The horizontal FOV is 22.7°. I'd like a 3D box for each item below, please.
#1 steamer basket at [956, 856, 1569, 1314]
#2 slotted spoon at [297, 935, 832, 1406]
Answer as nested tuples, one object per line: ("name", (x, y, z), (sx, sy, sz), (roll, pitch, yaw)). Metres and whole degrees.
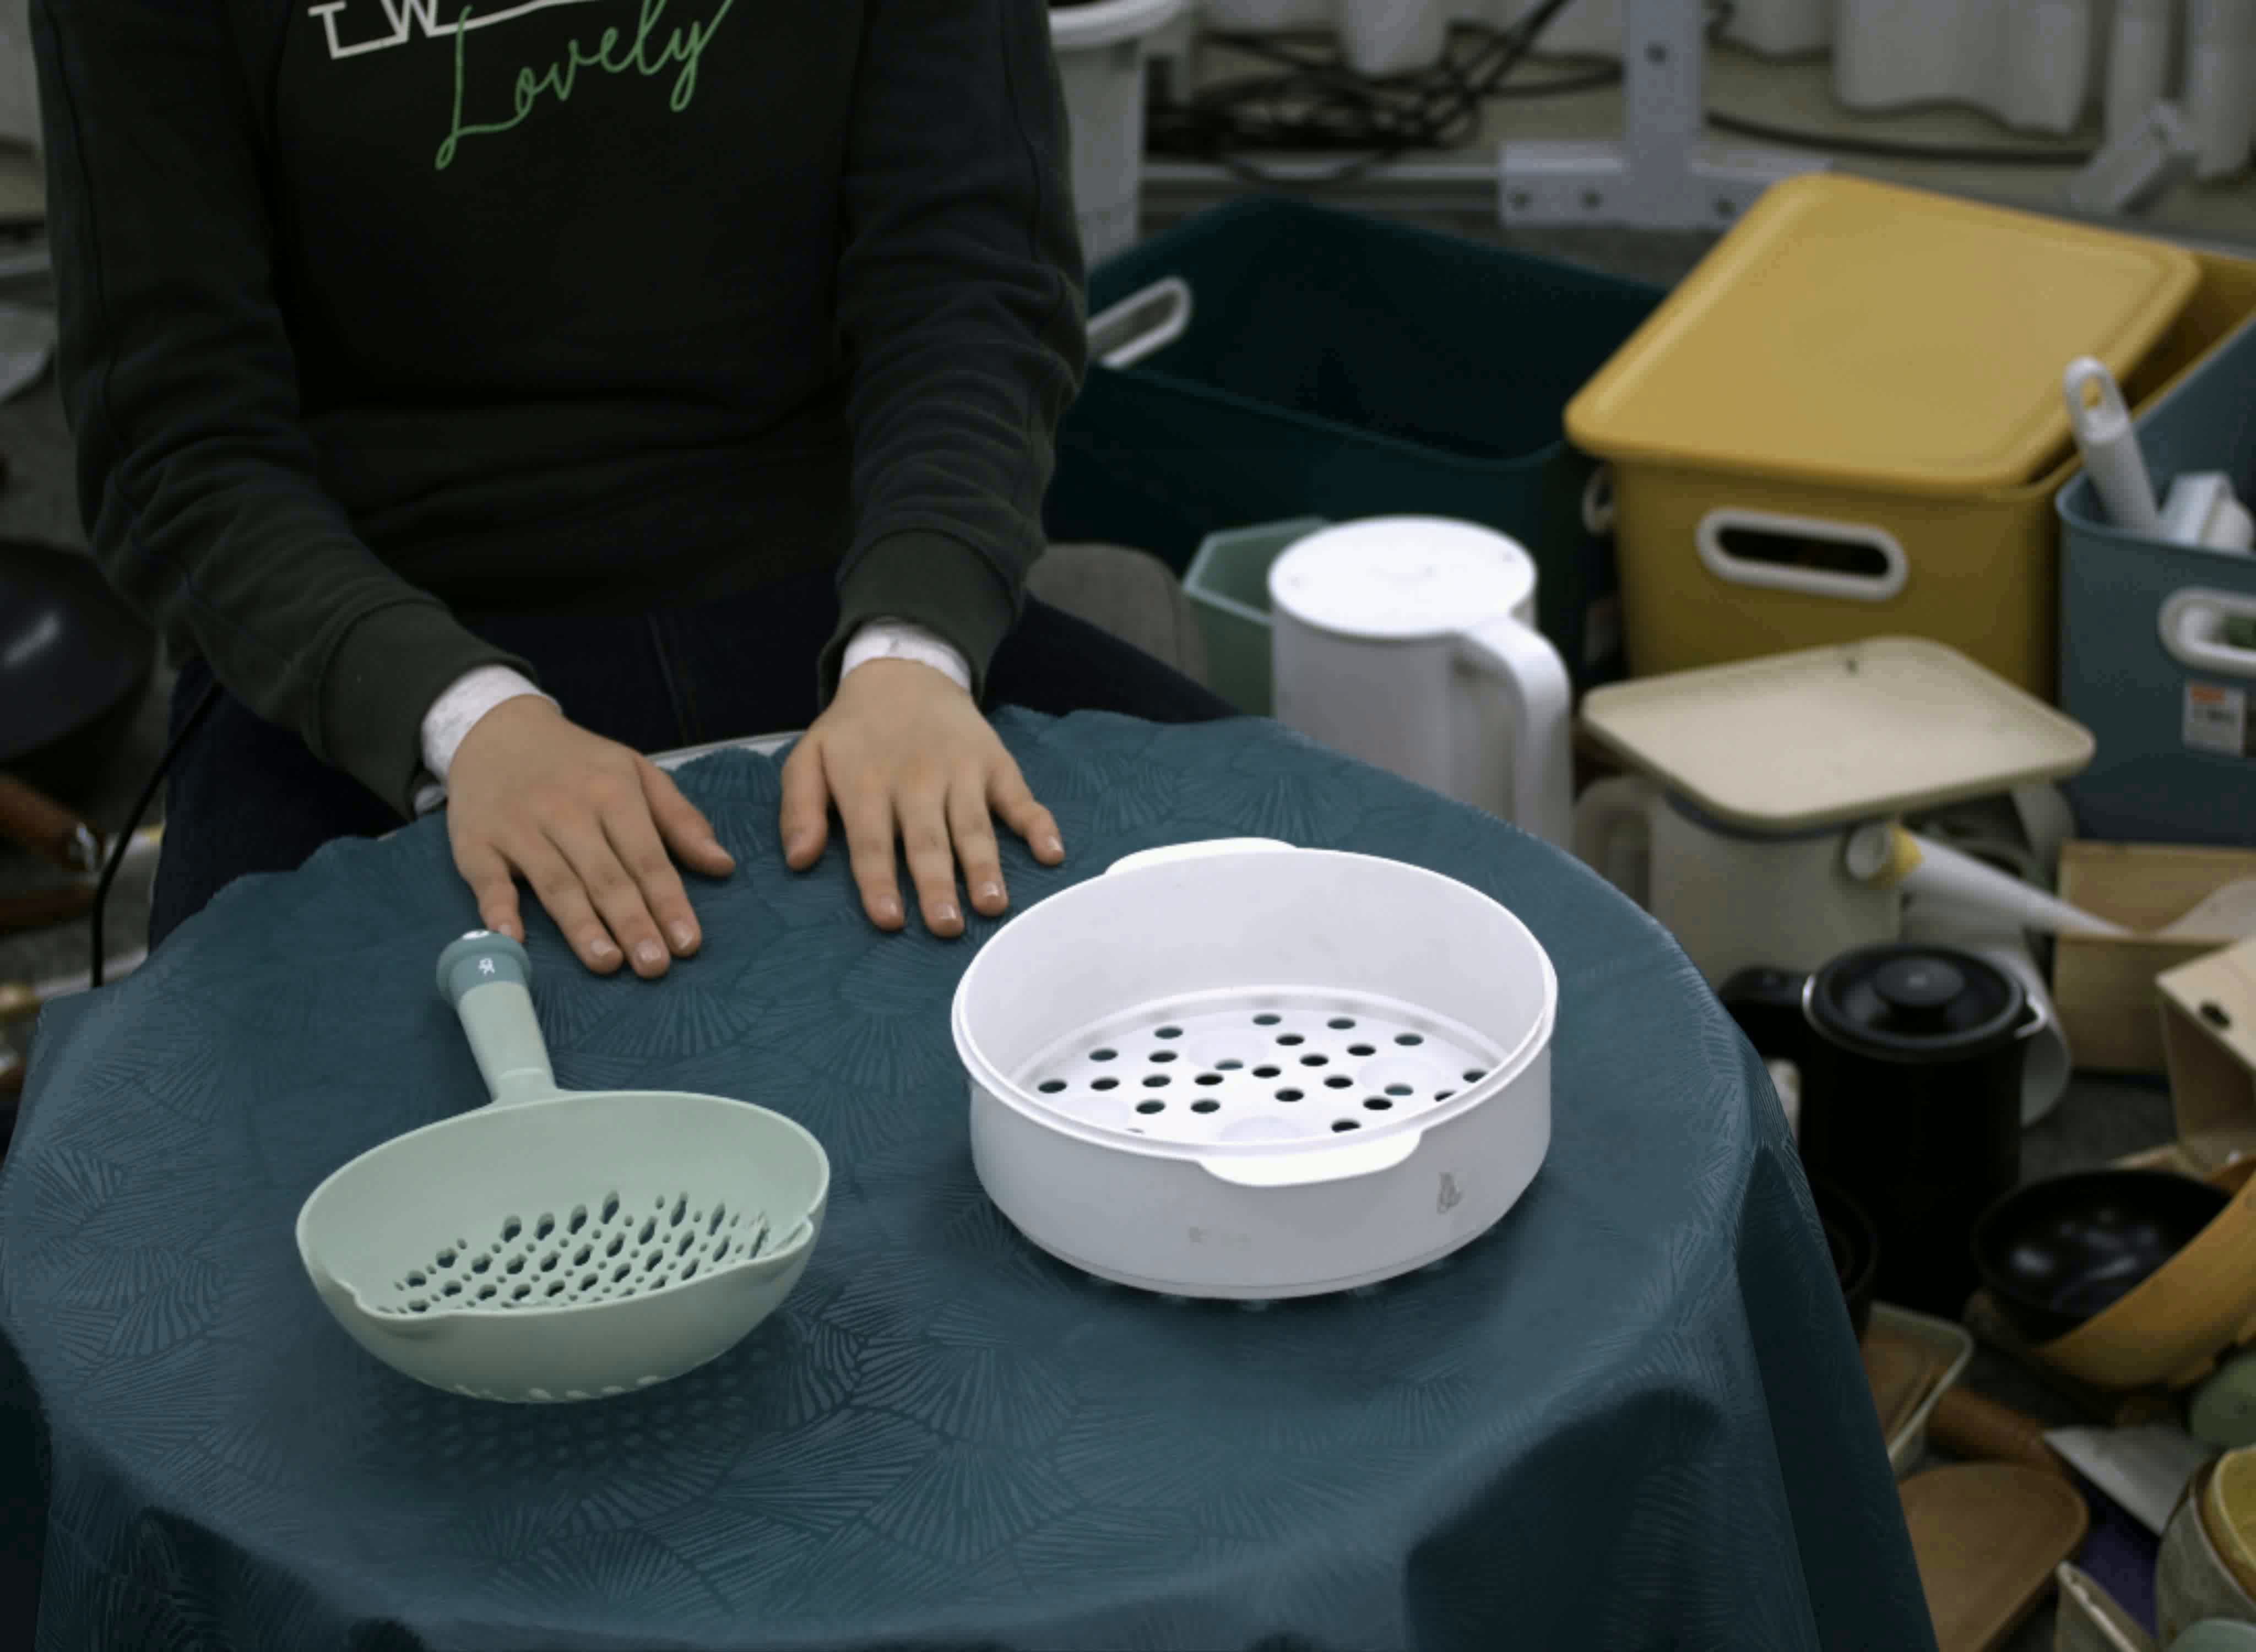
("steamer basket", (0.045, 0.087, 1.856), (0.201, 0.068, 0.233), (-6, 27, -9))
("slotted spoon", (-0.196, 0.098, 1.857), (0.169, 0.074, 0.363), (-8, 27, -10))
